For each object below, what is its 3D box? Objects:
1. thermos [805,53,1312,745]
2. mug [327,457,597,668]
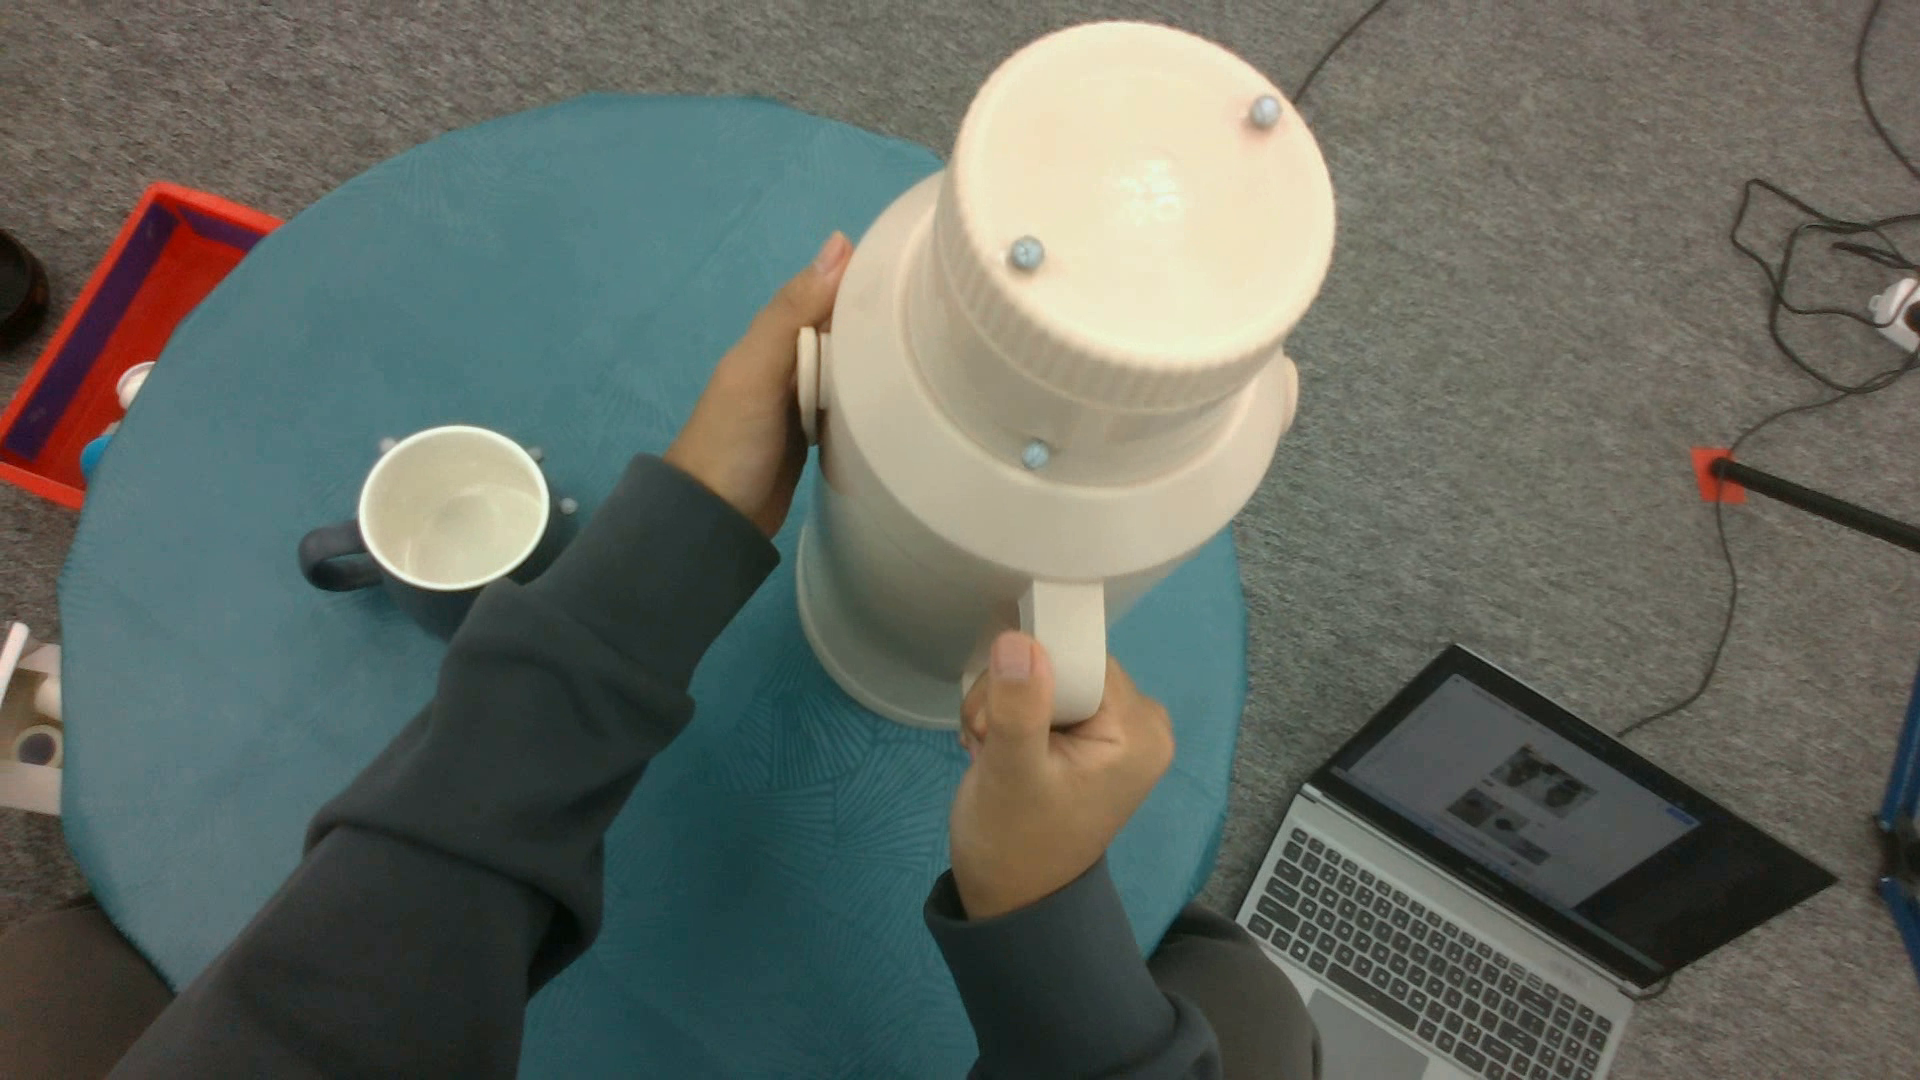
[{"bbox_3d":[0.023,-0.016,0.561,0.175,0.405,0.207,0,72,-8],"label":"thermos"},{"bbox_3d":[-0.244,0.014,0.675,0.123,0.089,0.093,-12,74,-11],"label":"mug"}]
